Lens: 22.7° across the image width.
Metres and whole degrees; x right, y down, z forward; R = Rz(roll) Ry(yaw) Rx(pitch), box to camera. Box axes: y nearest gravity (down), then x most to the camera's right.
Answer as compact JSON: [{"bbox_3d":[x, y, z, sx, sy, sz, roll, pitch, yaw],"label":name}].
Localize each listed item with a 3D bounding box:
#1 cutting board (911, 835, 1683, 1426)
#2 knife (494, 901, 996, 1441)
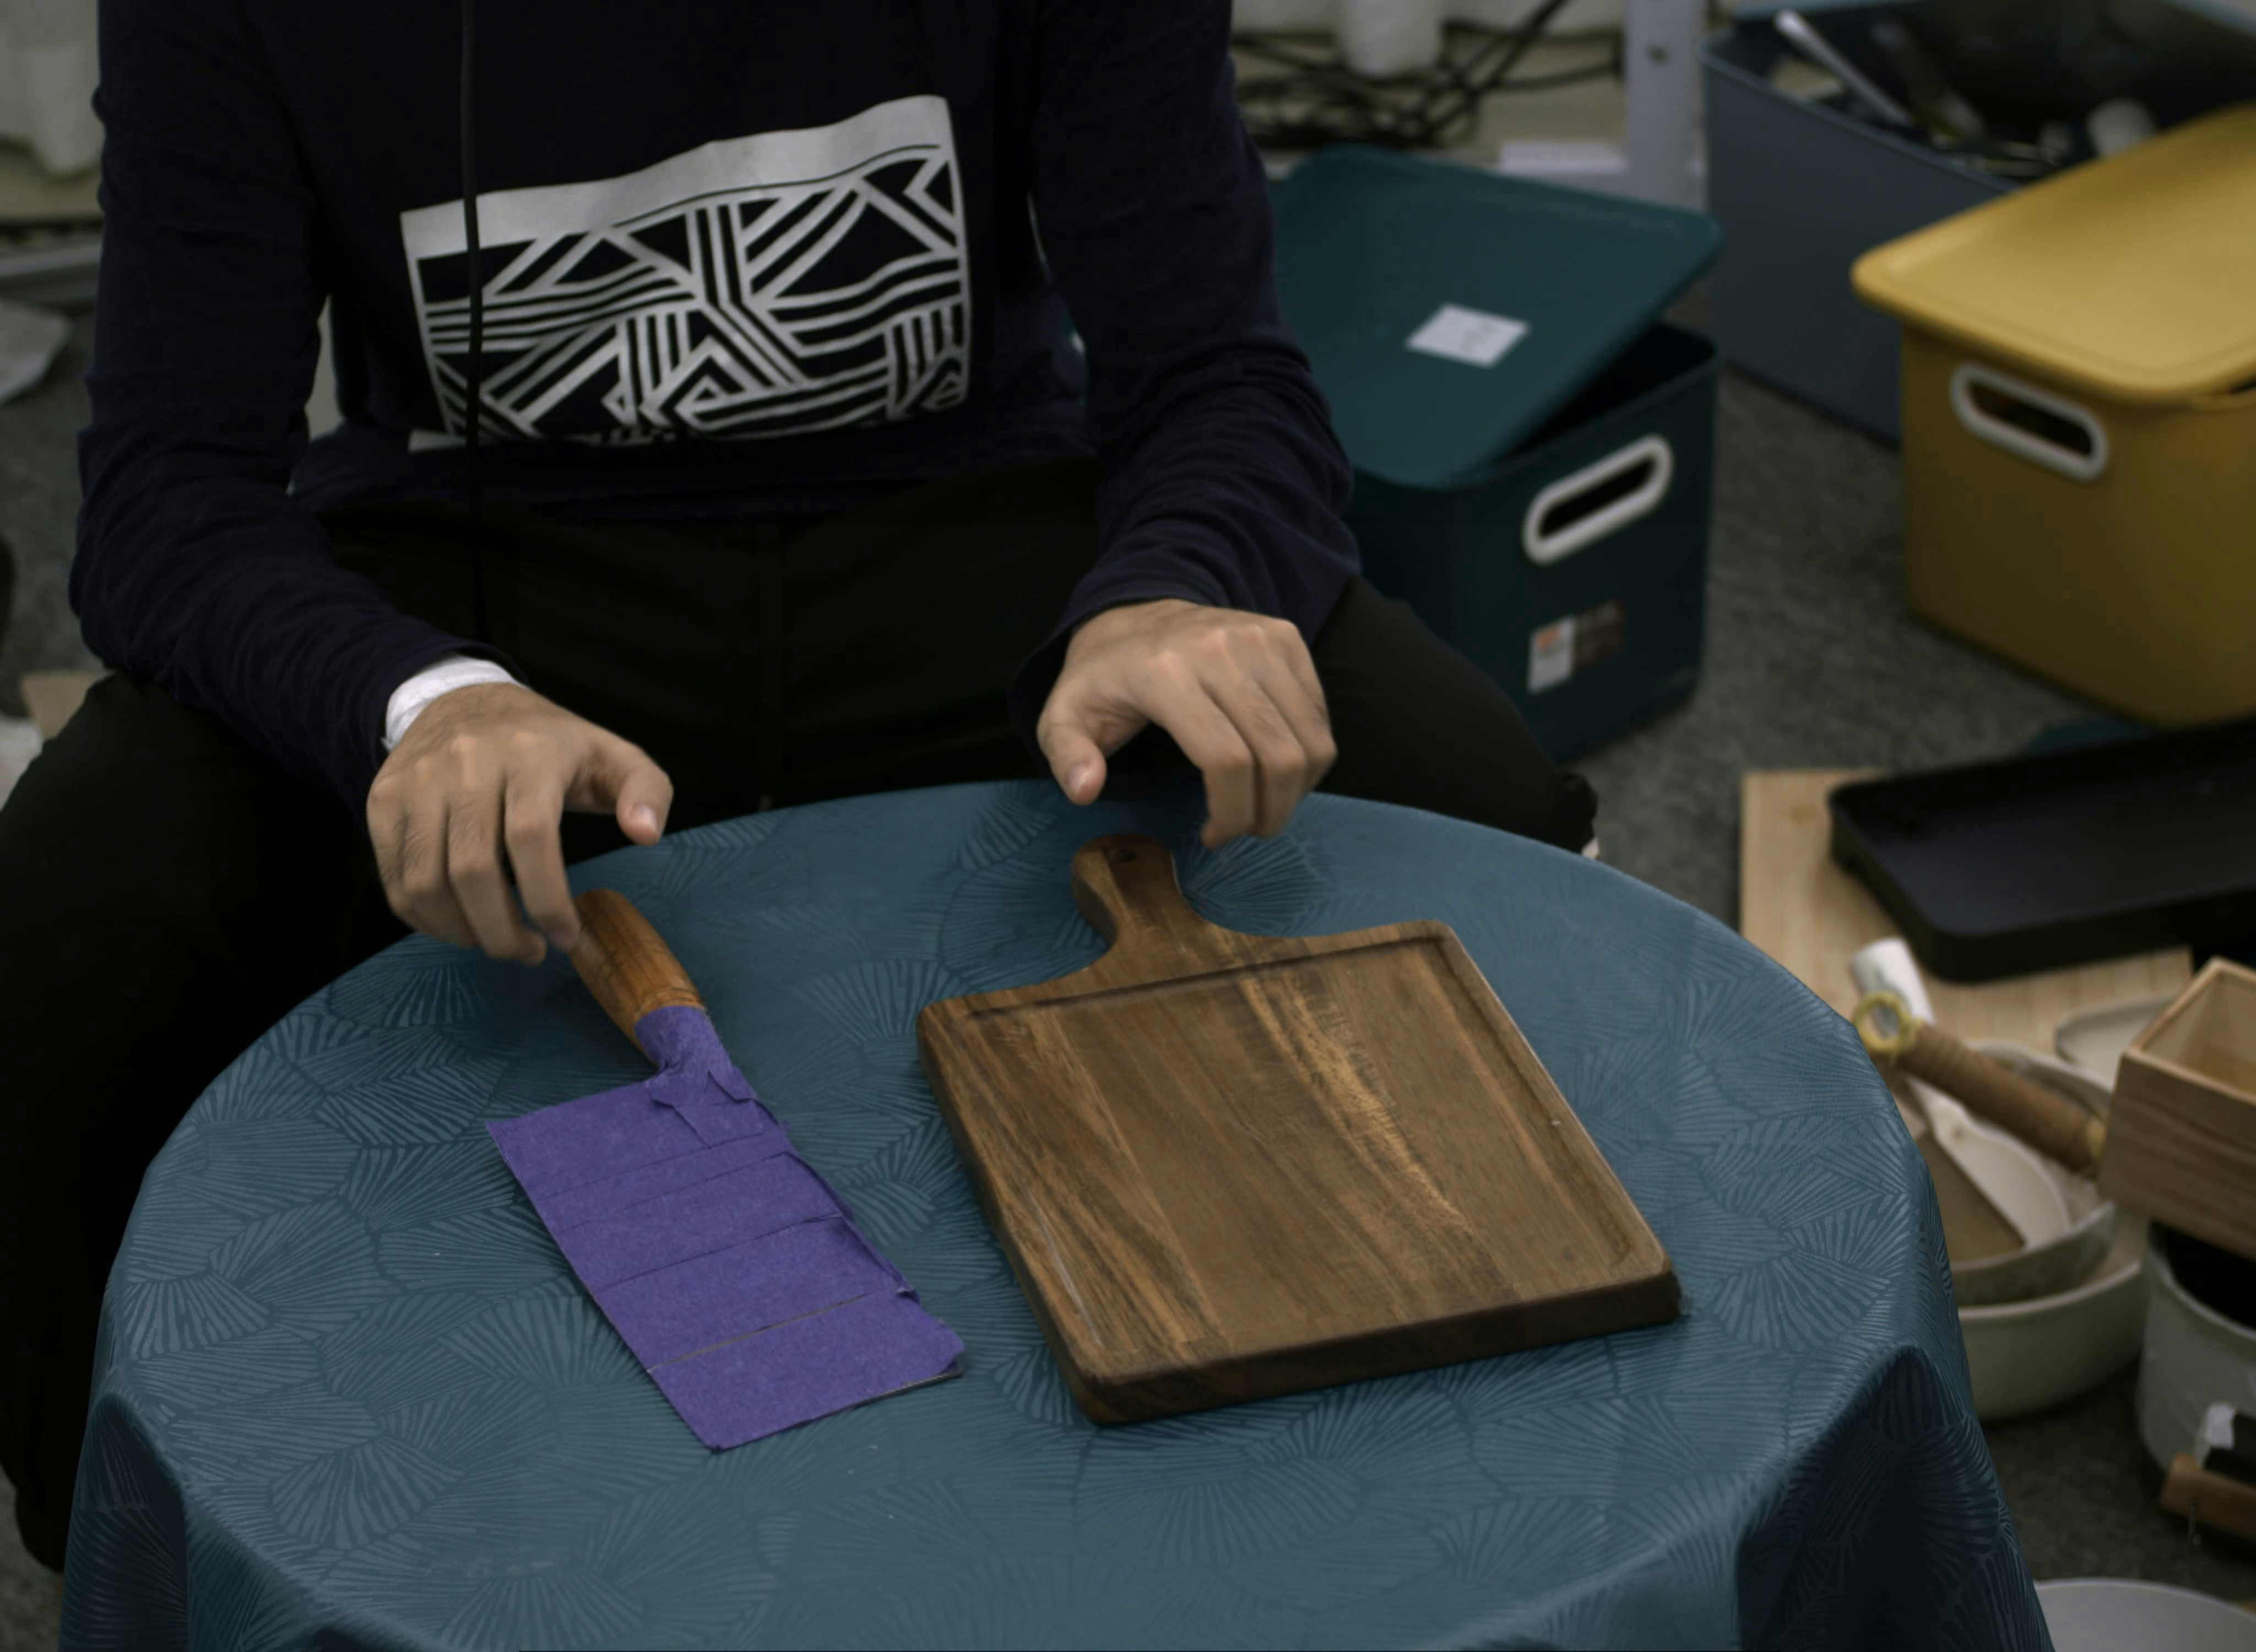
[{"bbox_3d":[0.038,0.088,1.902,0.201,0.023,0.356,-9,27,-12],"label":"cutting board"},{"bbox_3d":[-0.154,0.110,1.869,0.104,0.032,0.317,-14,30,-22],"label":"knife"}]
